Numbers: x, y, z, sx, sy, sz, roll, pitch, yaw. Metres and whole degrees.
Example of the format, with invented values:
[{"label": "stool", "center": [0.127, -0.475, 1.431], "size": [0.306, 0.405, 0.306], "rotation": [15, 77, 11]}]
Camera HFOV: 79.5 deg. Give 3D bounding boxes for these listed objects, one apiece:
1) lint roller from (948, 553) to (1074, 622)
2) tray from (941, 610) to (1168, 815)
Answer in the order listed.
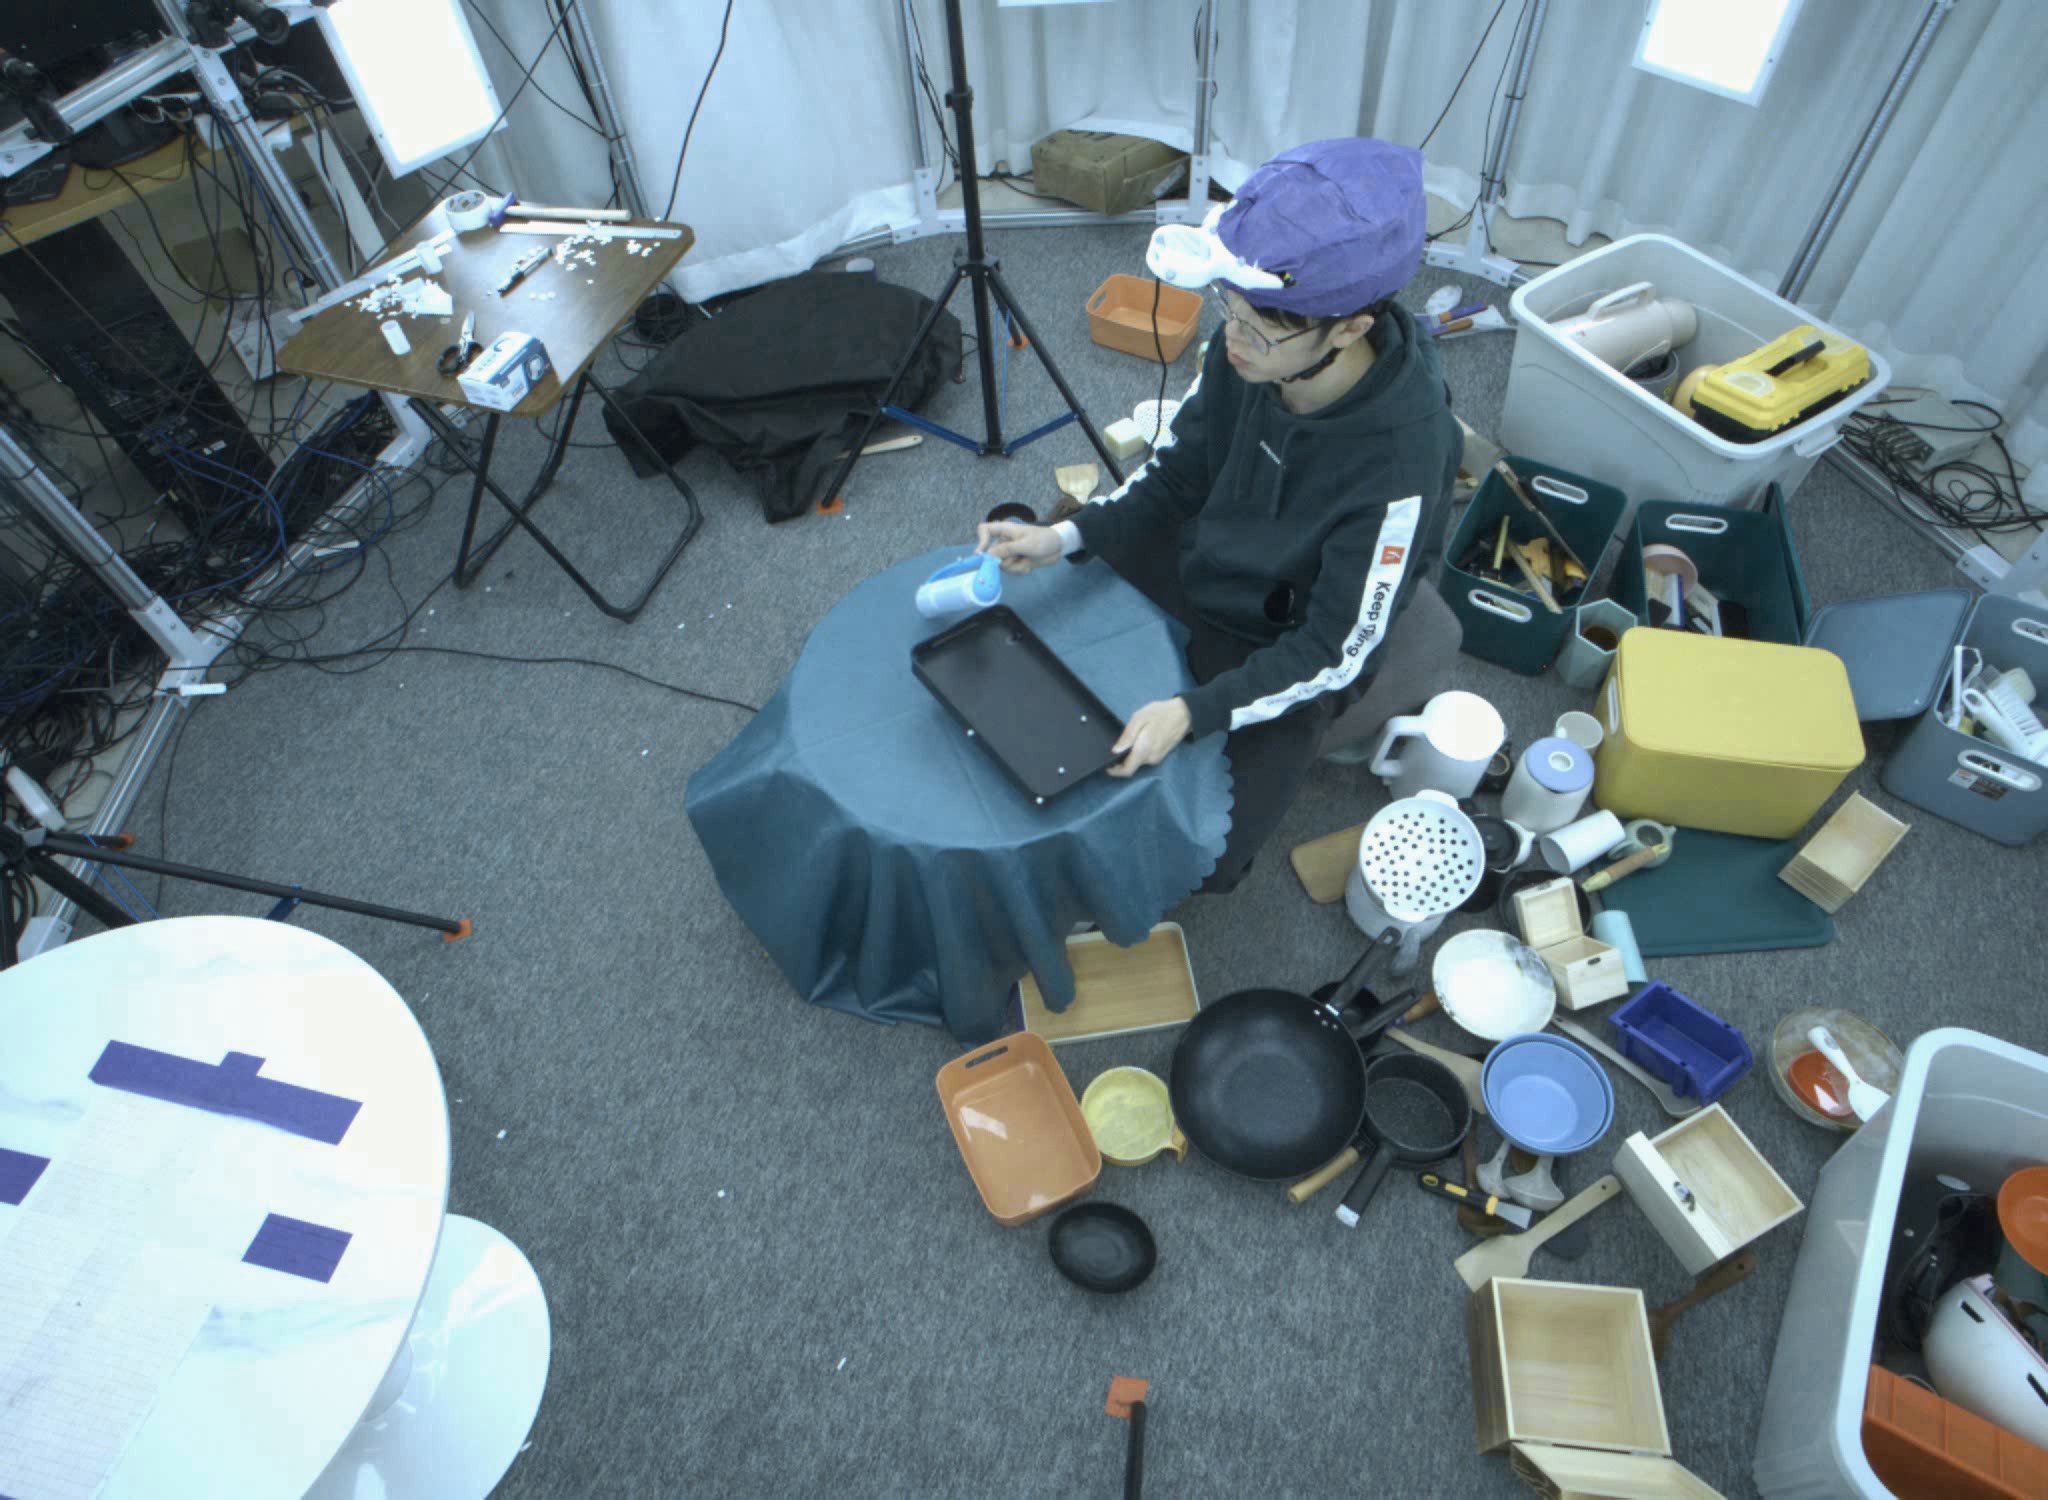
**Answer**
[{"label": "lint roller", "center": [-0.009, -0.261, 1.847], "size": [0.181, 0.225, 0.068], "rotation": [-38, 105, -25]}, {"label": "tray", "center": [0.039, -0.058, 1.741], "size": [0.186, 0.037, 0.313], "rotation": [-30, 64, -28]}]
